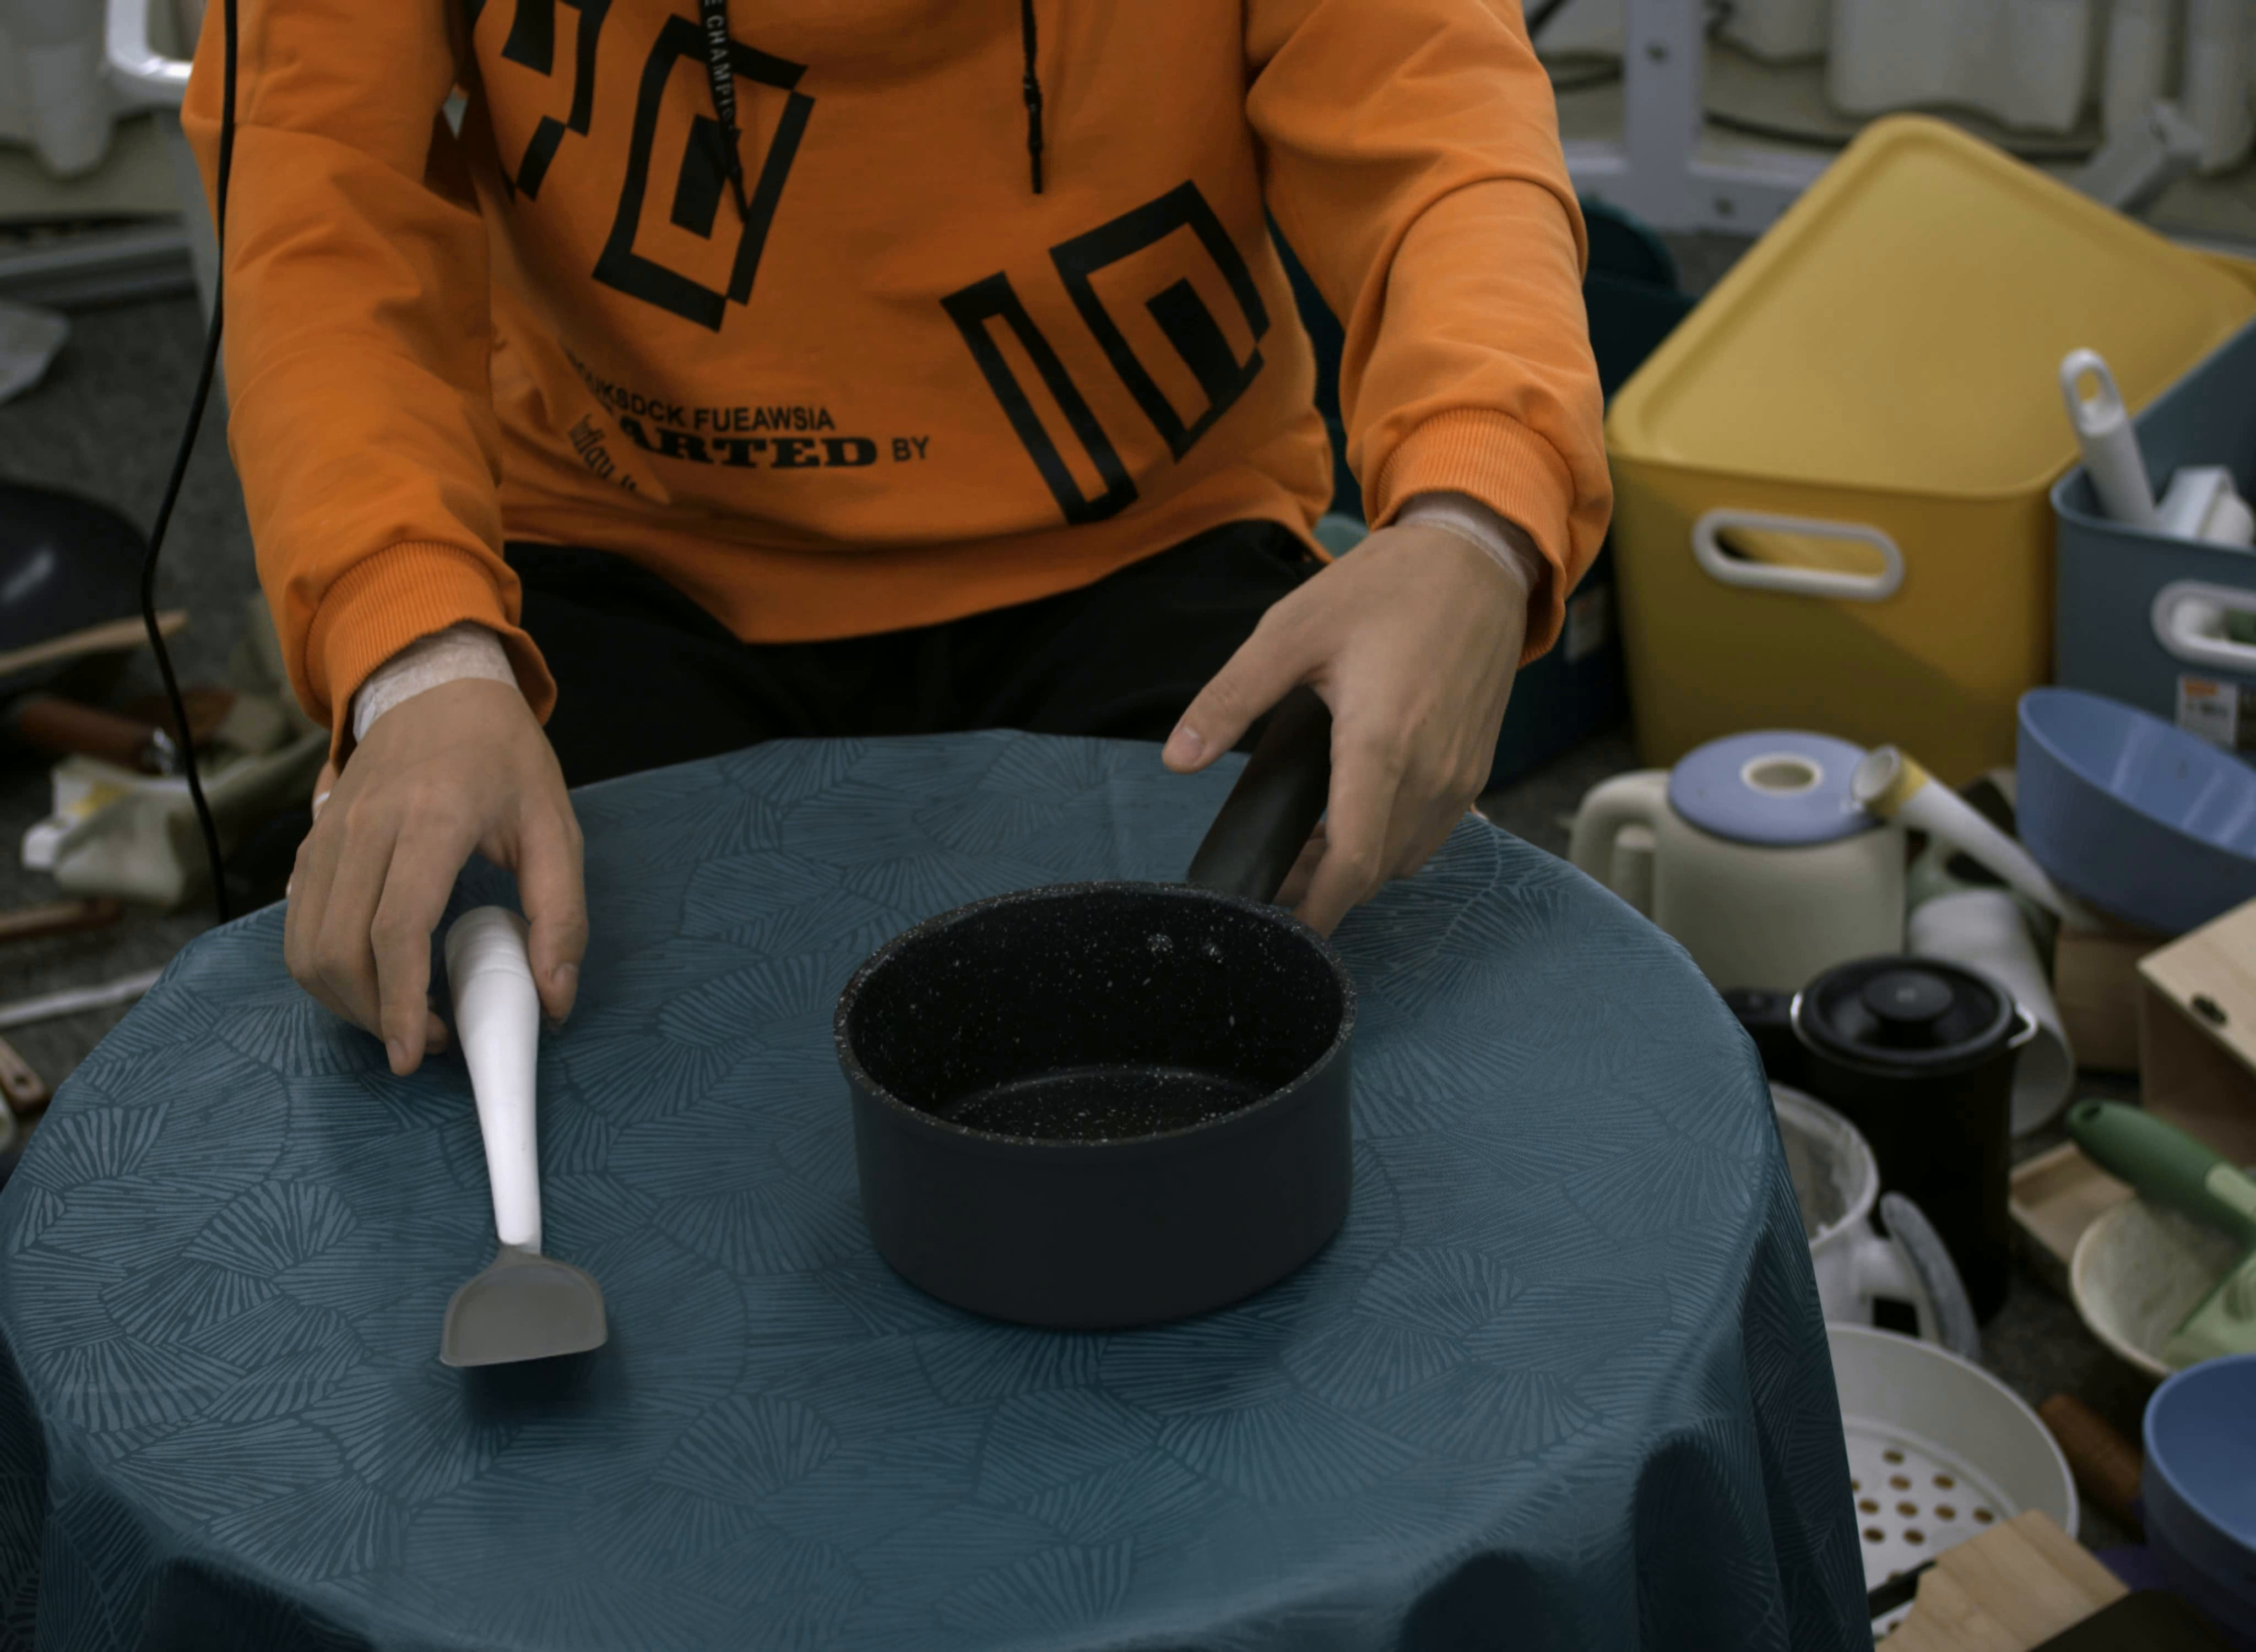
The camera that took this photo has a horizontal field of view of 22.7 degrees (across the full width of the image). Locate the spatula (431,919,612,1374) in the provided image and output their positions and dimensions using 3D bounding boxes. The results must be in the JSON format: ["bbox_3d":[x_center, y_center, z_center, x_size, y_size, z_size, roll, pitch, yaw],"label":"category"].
[{"bbox_3d":[-0.207,0.111,1.869,0.058,0.032,0.291,-2,26,-8],"label":"spatula"}]

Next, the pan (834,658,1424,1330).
[{"bbox_3d":[0.024,0.052,1.902,0.171,0.085,0.334,10,32,22],"label":"pan"}]
